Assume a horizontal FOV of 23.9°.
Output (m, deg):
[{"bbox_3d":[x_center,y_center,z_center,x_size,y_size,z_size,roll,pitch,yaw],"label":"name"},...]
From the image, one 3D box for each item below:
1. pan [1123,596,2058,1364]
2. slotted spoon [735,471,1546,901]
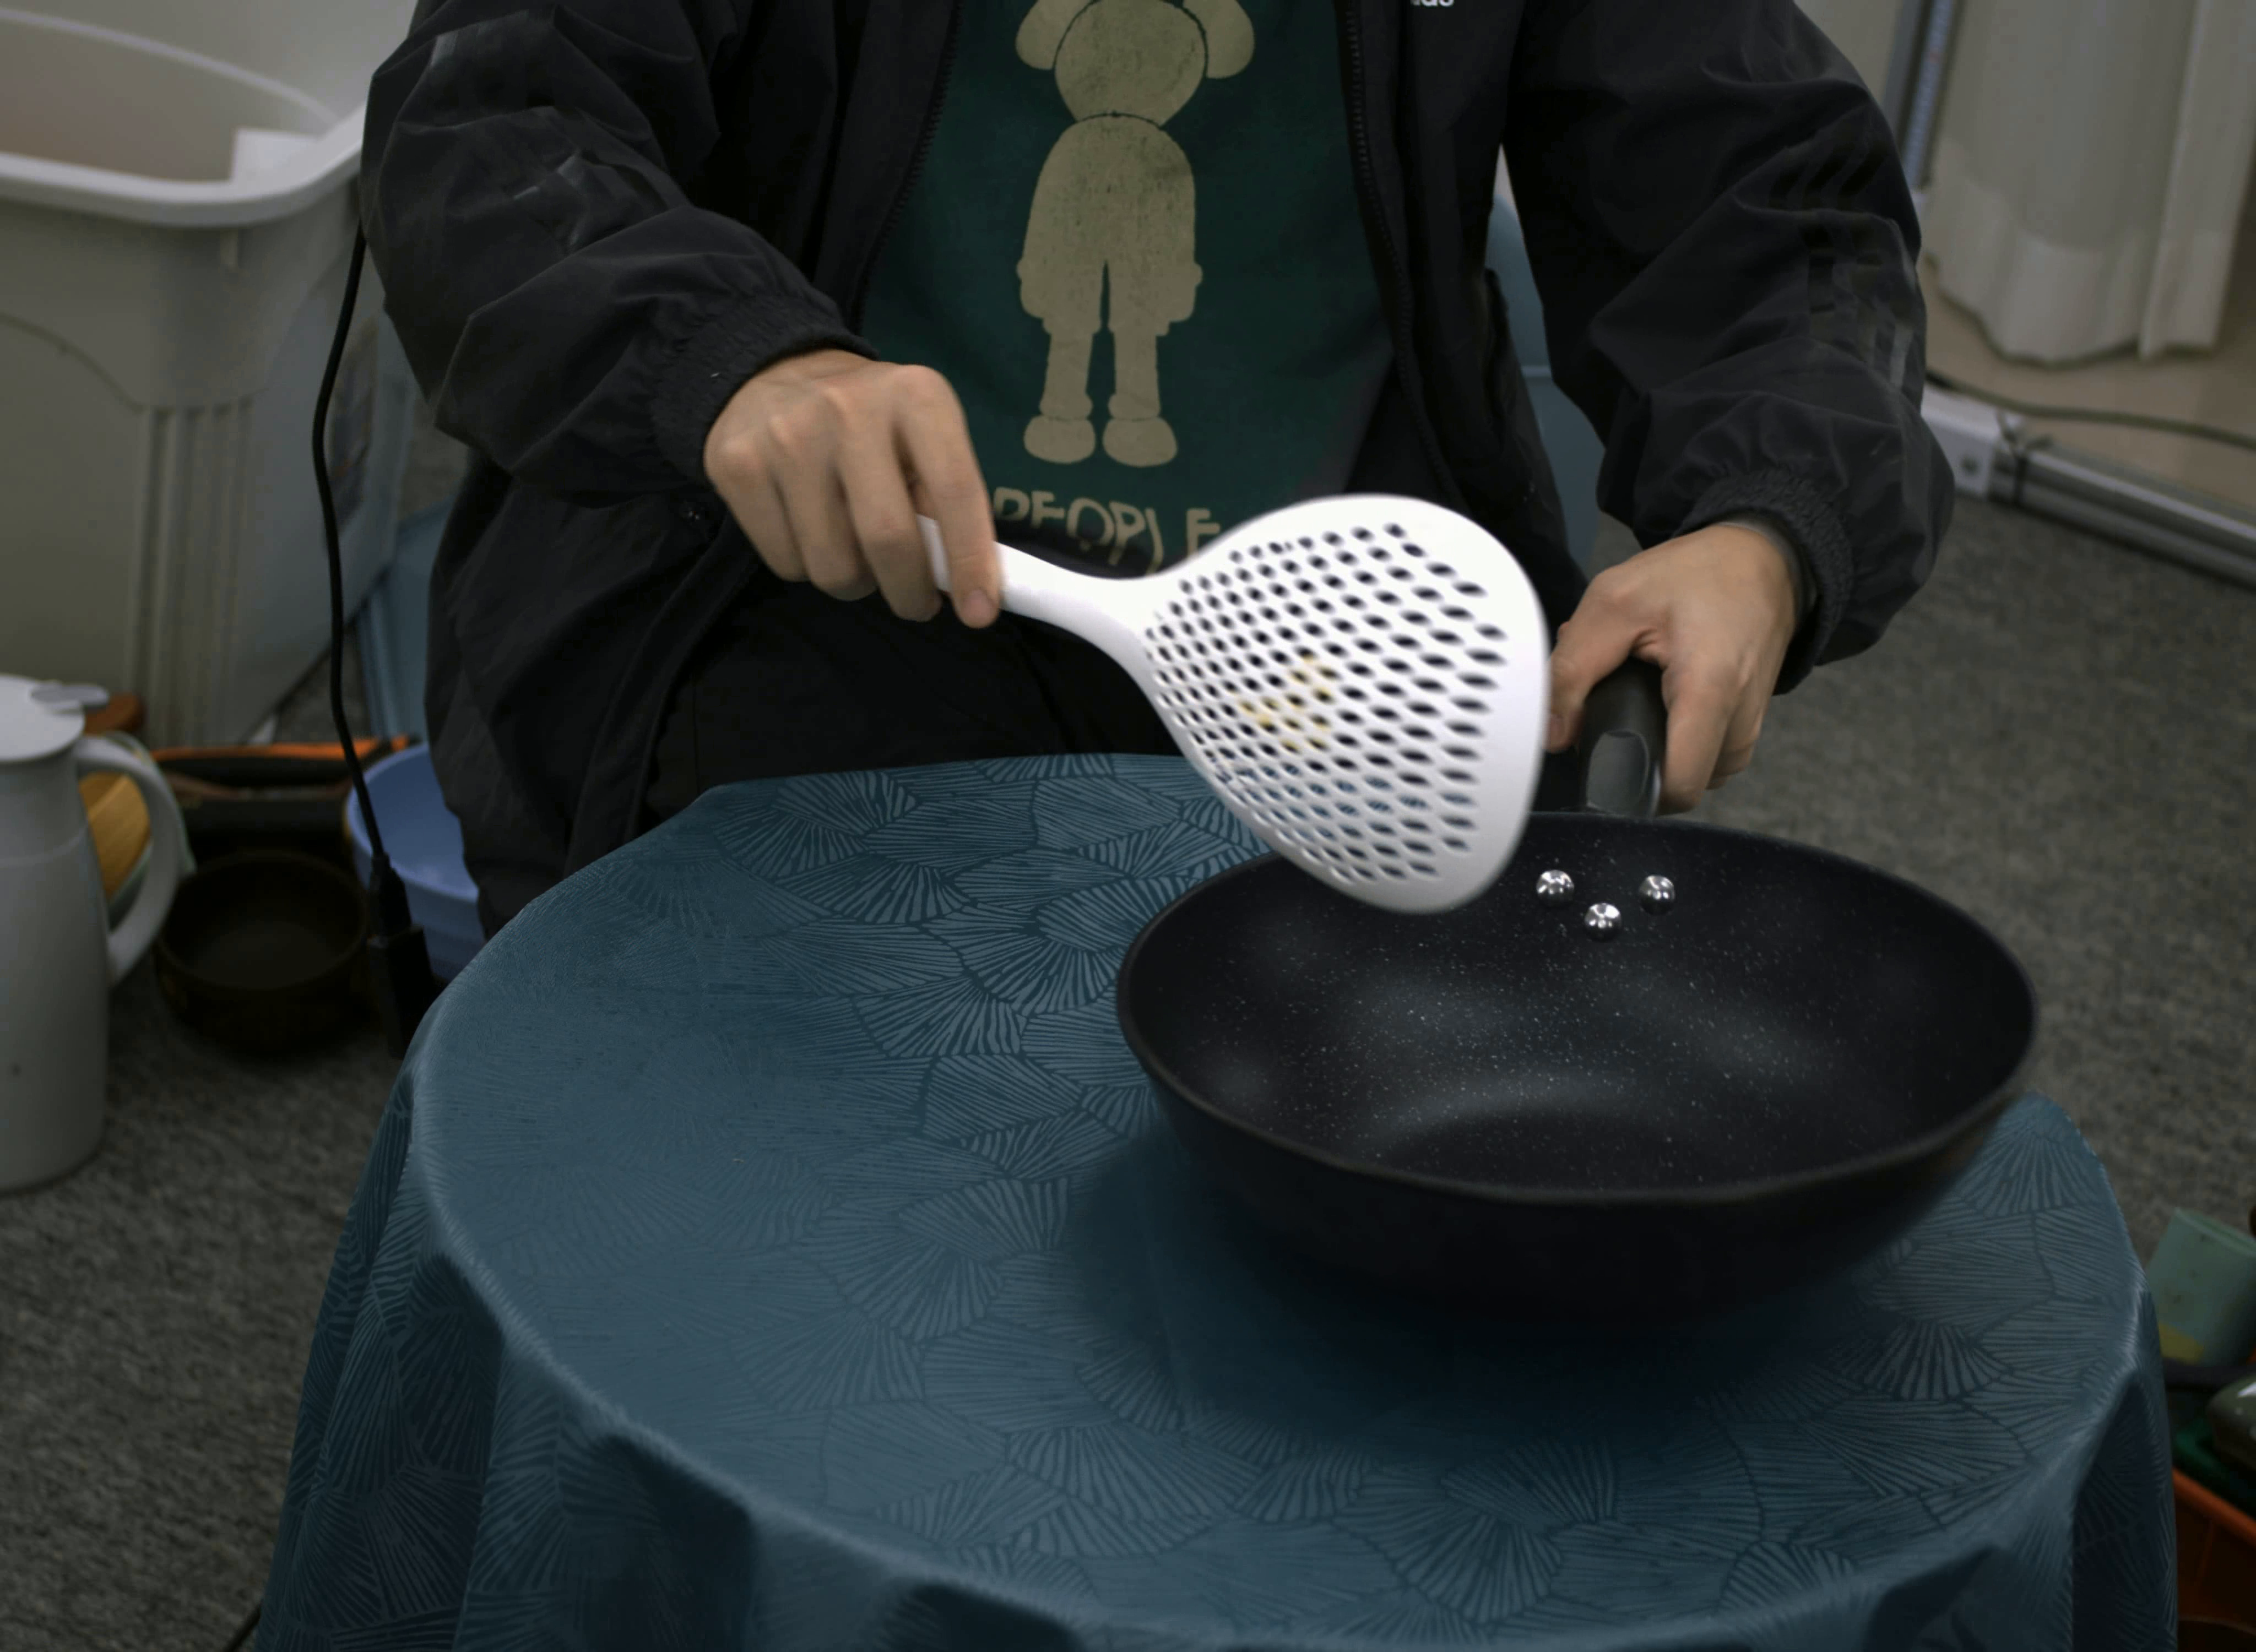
[{"bbox_3d":[0.164,0.056,1.852,0.310,0.111,0.478,5,24,7],"label":"pan"},{"bbox_3d":[-0.004,-0.070,1.797,0.050,0.137,0.350,-7,19,-43],"label":"slotted spoon"}]
